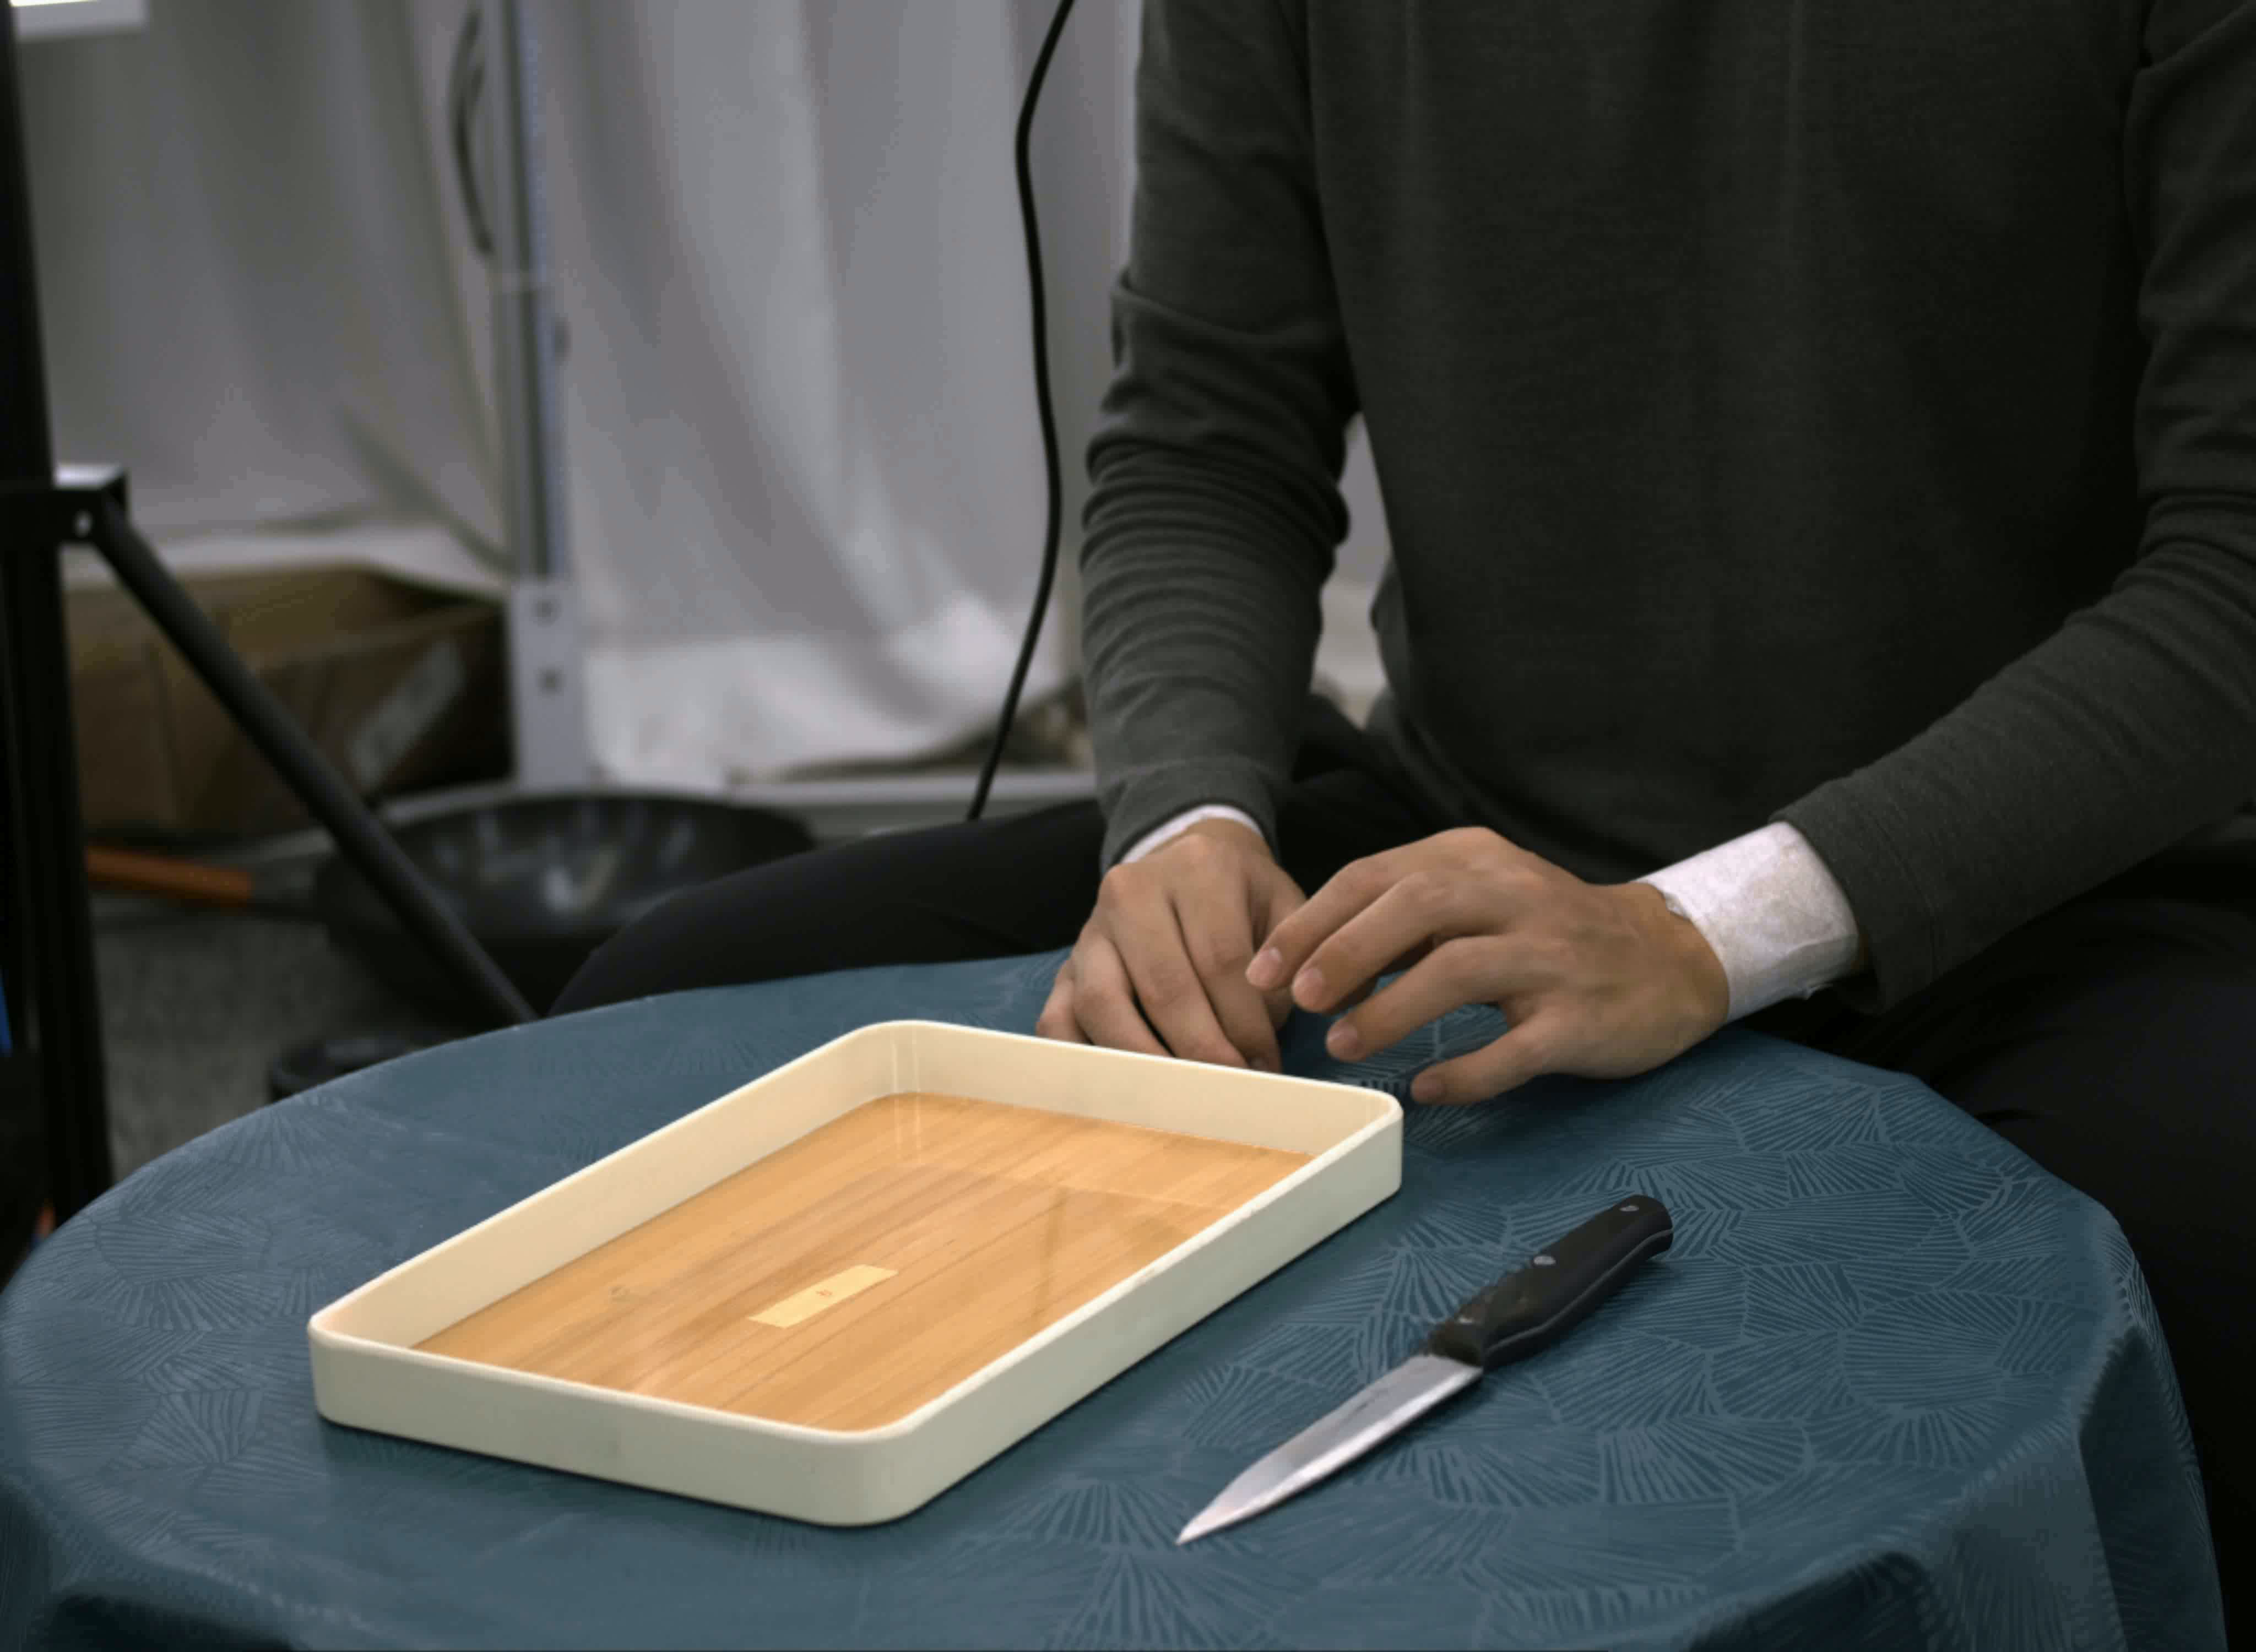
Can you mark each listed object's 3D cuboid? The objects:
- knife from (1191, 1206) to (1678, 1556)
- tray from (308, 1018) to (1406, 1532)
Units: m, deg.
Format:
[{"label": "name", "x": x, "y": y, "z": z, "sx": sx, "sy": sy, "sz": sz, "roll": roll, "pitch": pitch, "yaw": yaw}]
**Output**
[{"label": "knife", "x": 0.081, "y": 0.146, "z": 1.396, "sx": 0.025, "sy": 0.016, "sz": 0.233, "roll": 4, "pitch": 19, "yaw": 35}, {"label": "tray", "x": -0.068, "y": 0.119, "z": 1.486, "sx": 0.195, "sy": 0.027, "sz": 0.295, "roll": 9, "pitch": 19, "yaw": 31}]
